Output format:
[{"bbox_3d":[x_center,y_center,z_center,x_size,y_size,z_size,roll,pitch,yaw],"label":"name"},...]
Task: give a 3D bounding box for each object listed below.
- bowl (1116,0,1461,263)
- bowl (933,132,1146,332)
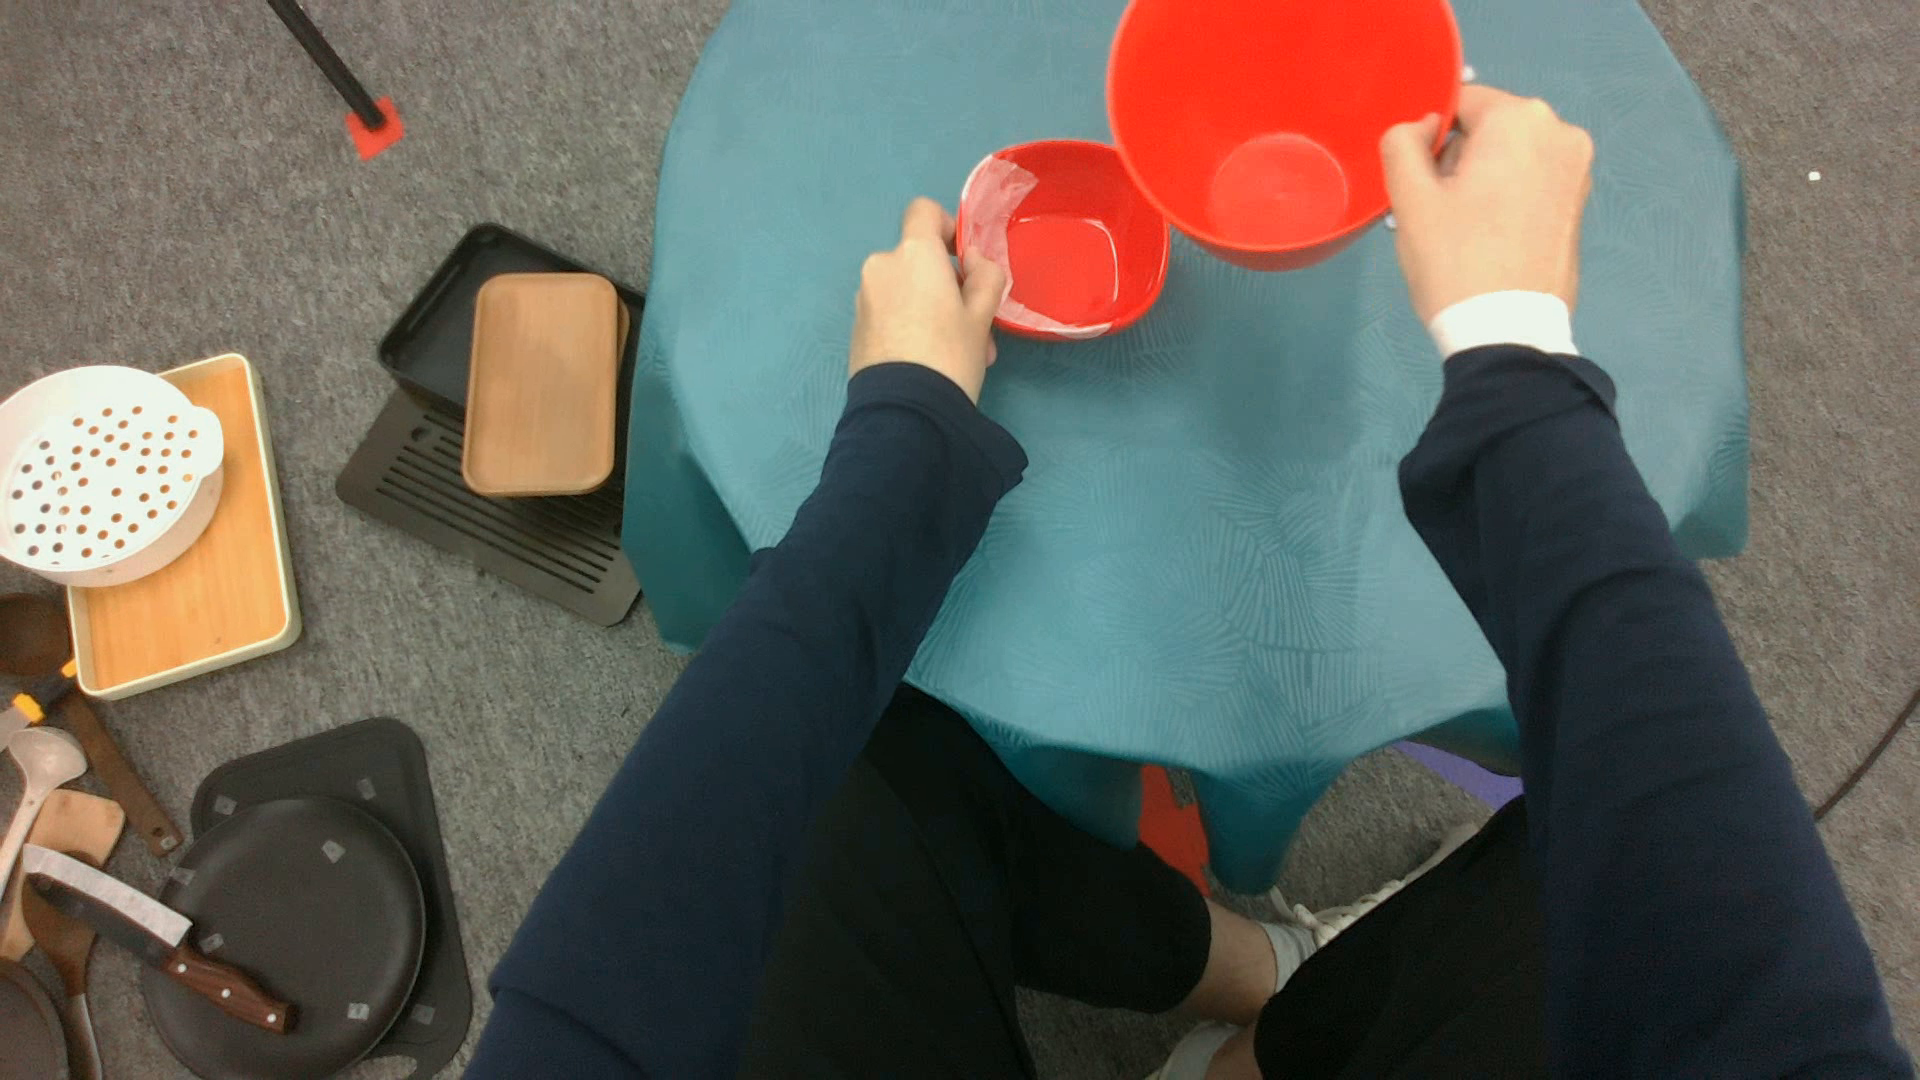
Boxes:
[{"bbox_3d":[0.148,-0.194,0.639,0.148,0.104,0.148,-2,75,8],"label":"bowl"},{"bbox_3d":[0.041,-0.156,0.733,0.119,0.051,0.119,0,75,-1],"label":"bowl"}]
